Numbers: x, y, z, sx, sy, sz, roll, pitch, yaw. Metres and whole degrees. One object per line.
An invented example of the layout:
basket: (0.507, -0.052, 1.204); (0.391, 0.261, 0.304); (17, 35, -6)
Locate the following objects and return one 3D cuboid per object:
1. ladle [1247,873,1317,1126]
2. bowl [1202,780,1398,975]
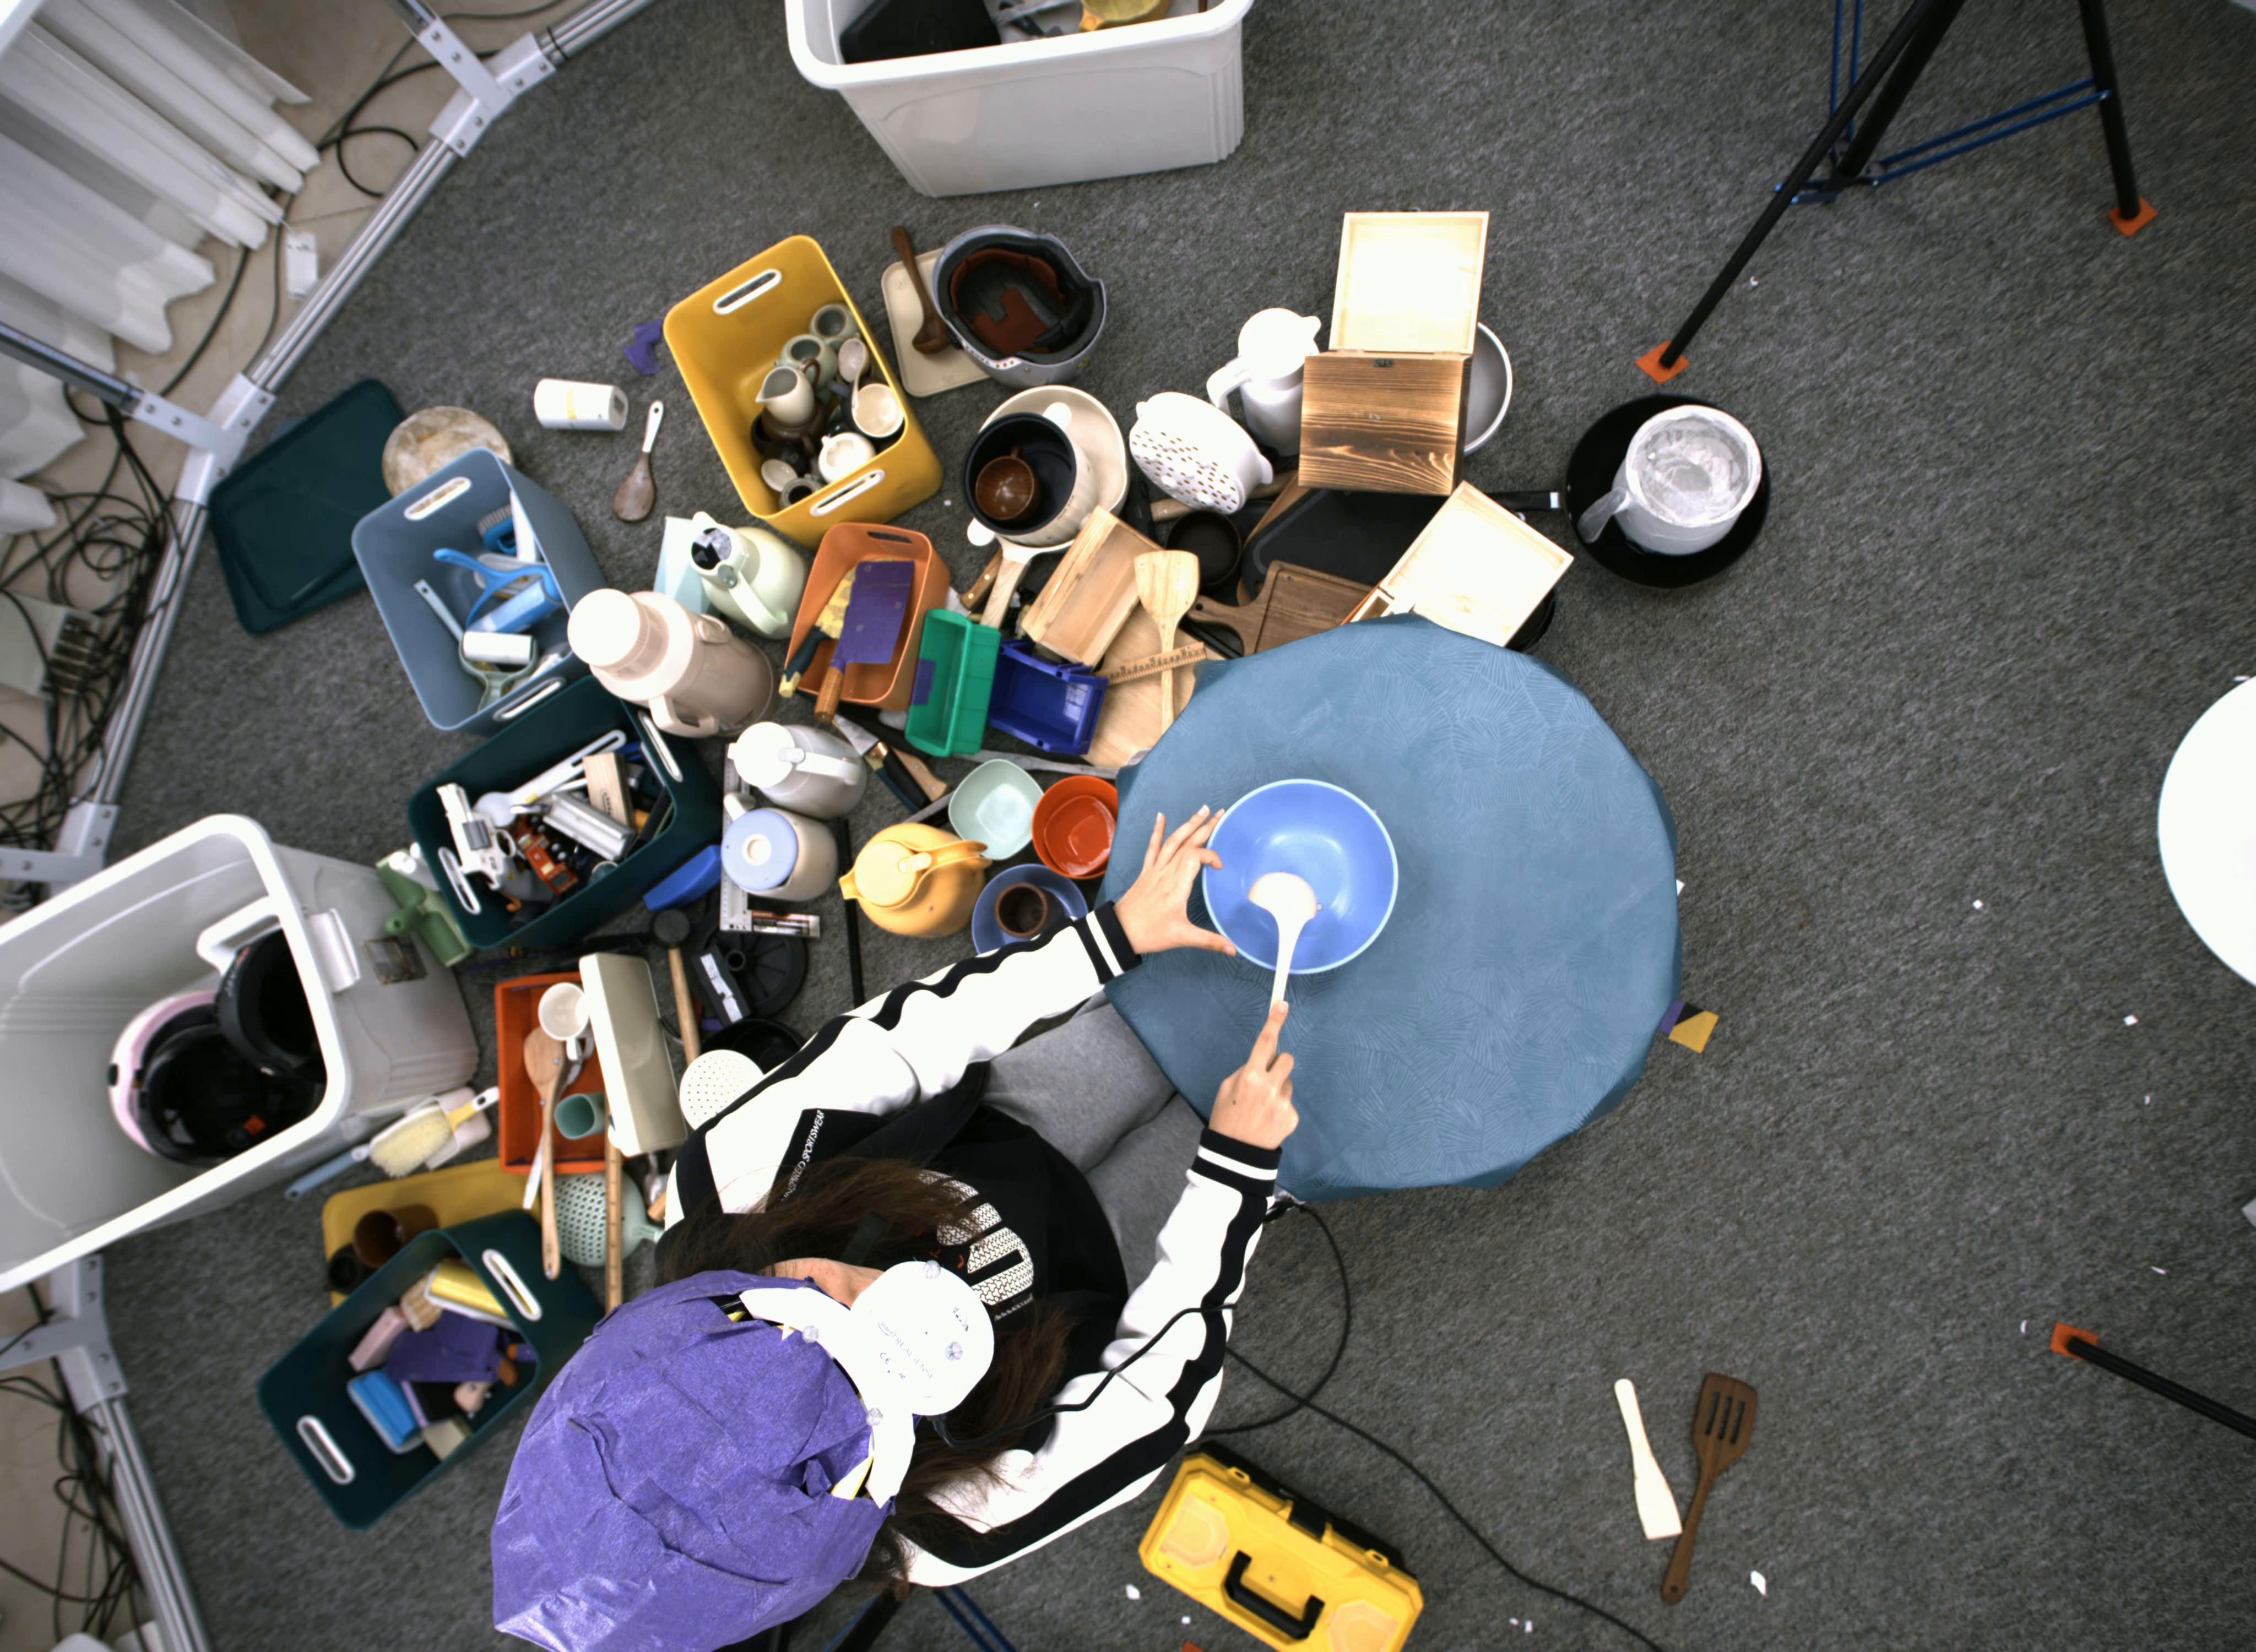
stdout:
ladle: (0.137, 0.173, 1.385); (0.072, 0.073, 0.251); (13, 78, -10)
bowl: (0.179, 0.054, 1.434); (0.197, 0.095, 0.196); (-1, 88, 10)
